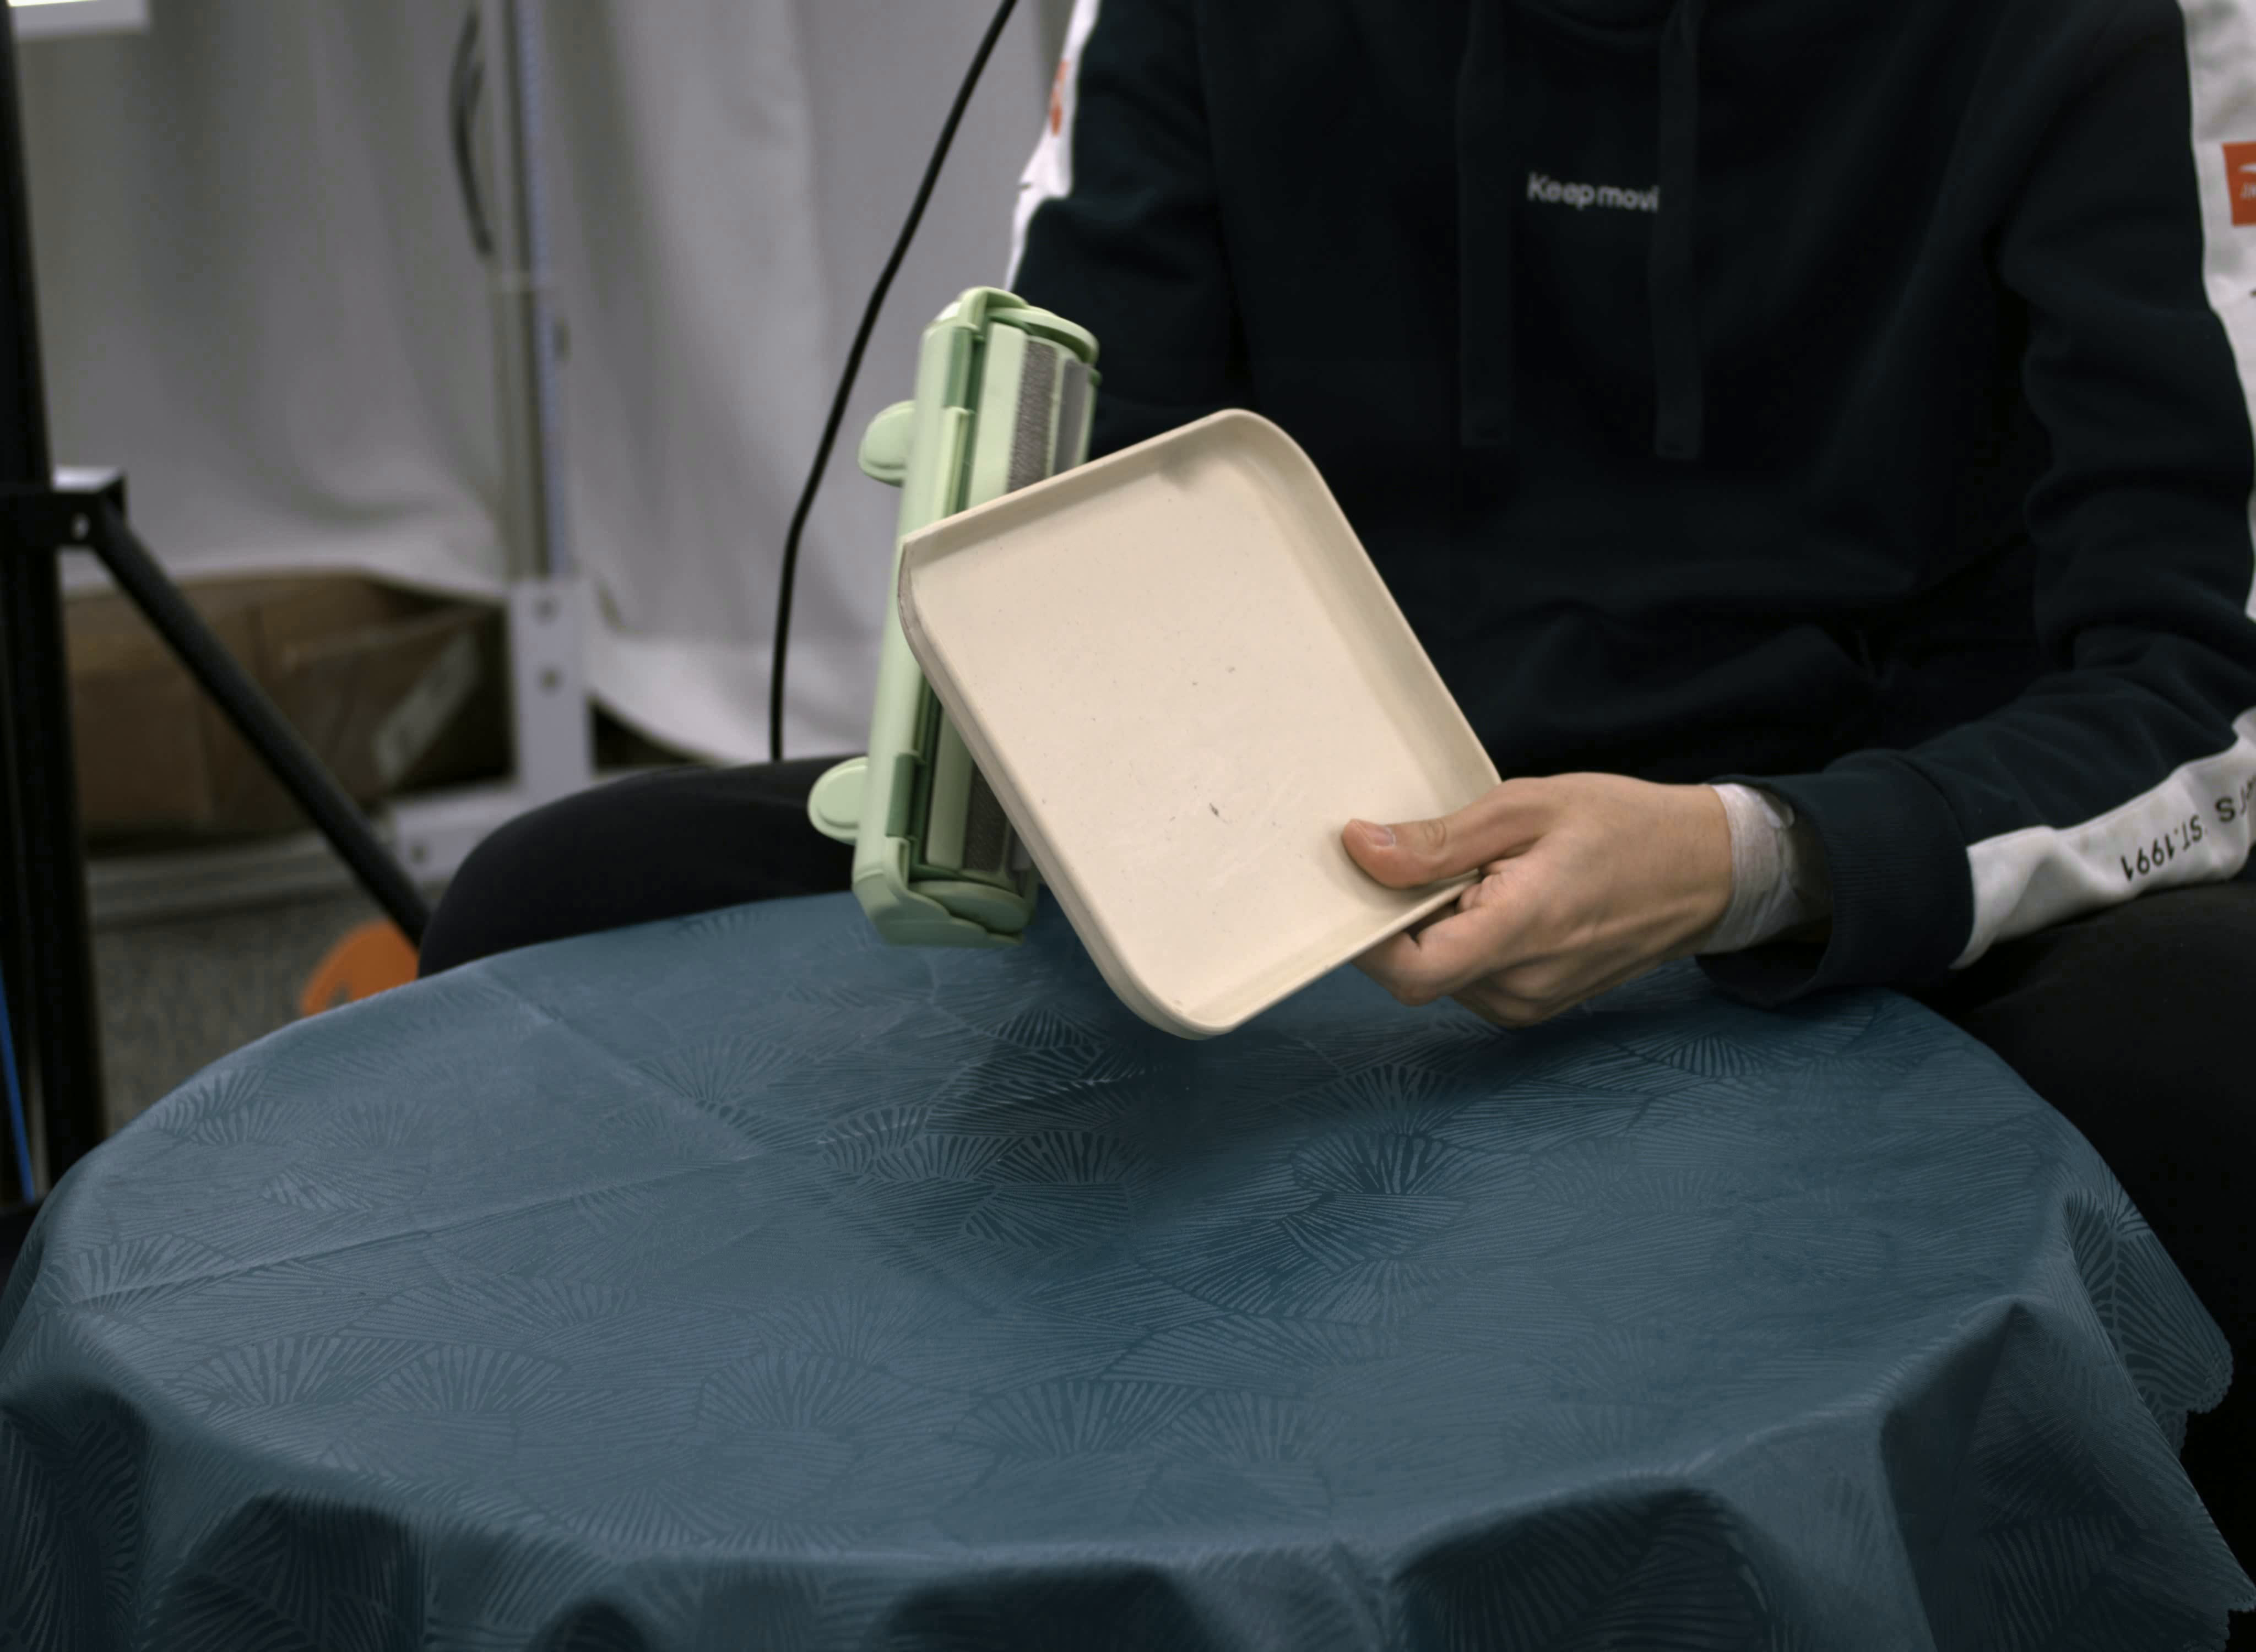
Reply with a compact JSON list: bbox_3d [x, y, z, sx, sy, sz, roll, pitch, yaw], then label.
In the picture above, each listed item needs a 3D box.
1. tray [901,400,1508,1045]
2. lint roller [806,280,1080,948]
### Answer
[{"bbox_3d":[0.025,-0.033,1.599,0.018,0.172,0.235,-31,-3,34],"label":"tray"},{"bbox_3d":[-0.049,-0.047,1.663,0.082,0.200,0.181,3,-17,7],"label":"lint roller"}]
